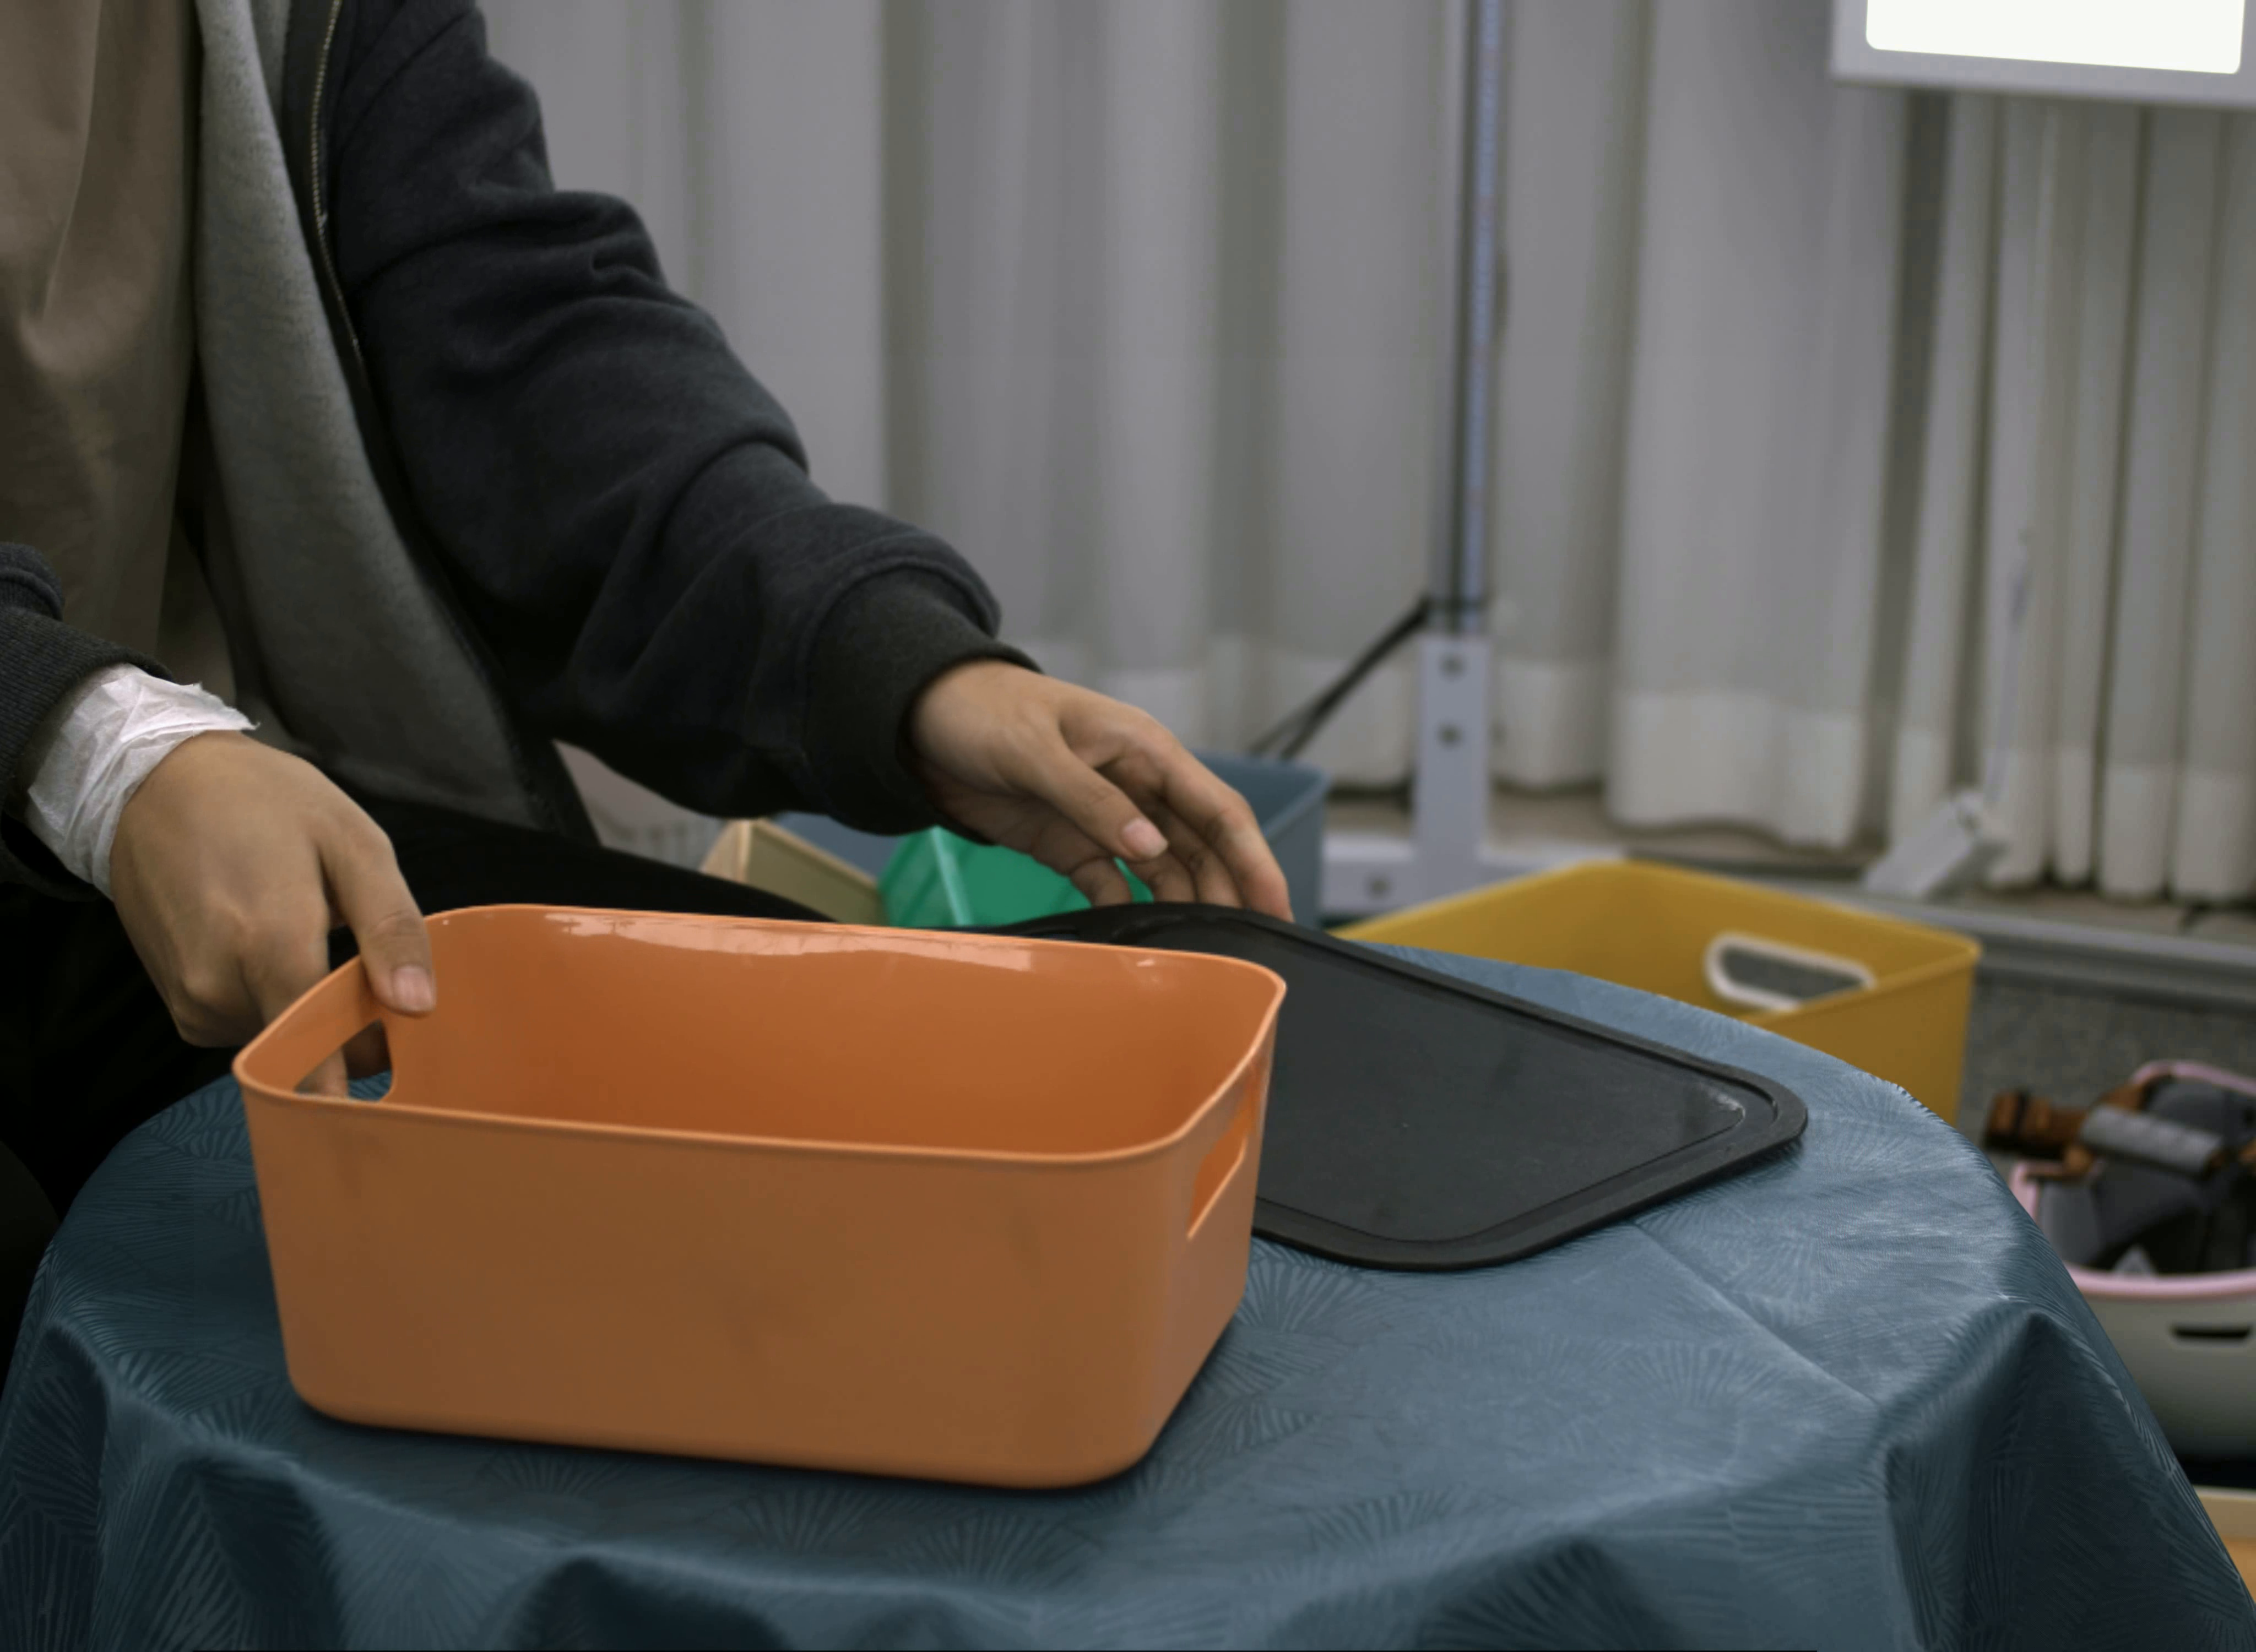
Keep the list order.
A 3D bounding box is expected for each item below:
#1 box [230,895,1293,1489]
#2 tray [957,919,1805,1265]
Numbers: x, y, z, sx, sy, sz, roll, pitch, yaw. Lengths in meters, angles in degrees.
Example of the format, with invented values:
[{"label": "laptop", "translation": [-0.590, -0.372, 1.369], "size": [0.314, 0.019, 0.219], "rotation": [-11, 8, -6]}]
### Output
[{"label": "box", "translation": [-0.098, 0.100, 1.469], "size": [0.271, 0.103, 0.199], "rotation": [4, 17, 12]}, {"label": "tray", "translation": [0.045, 0.079, 1.711], "size": [0.321, 0.010, 0.212], "rotation": [16, 23, 40]}]
